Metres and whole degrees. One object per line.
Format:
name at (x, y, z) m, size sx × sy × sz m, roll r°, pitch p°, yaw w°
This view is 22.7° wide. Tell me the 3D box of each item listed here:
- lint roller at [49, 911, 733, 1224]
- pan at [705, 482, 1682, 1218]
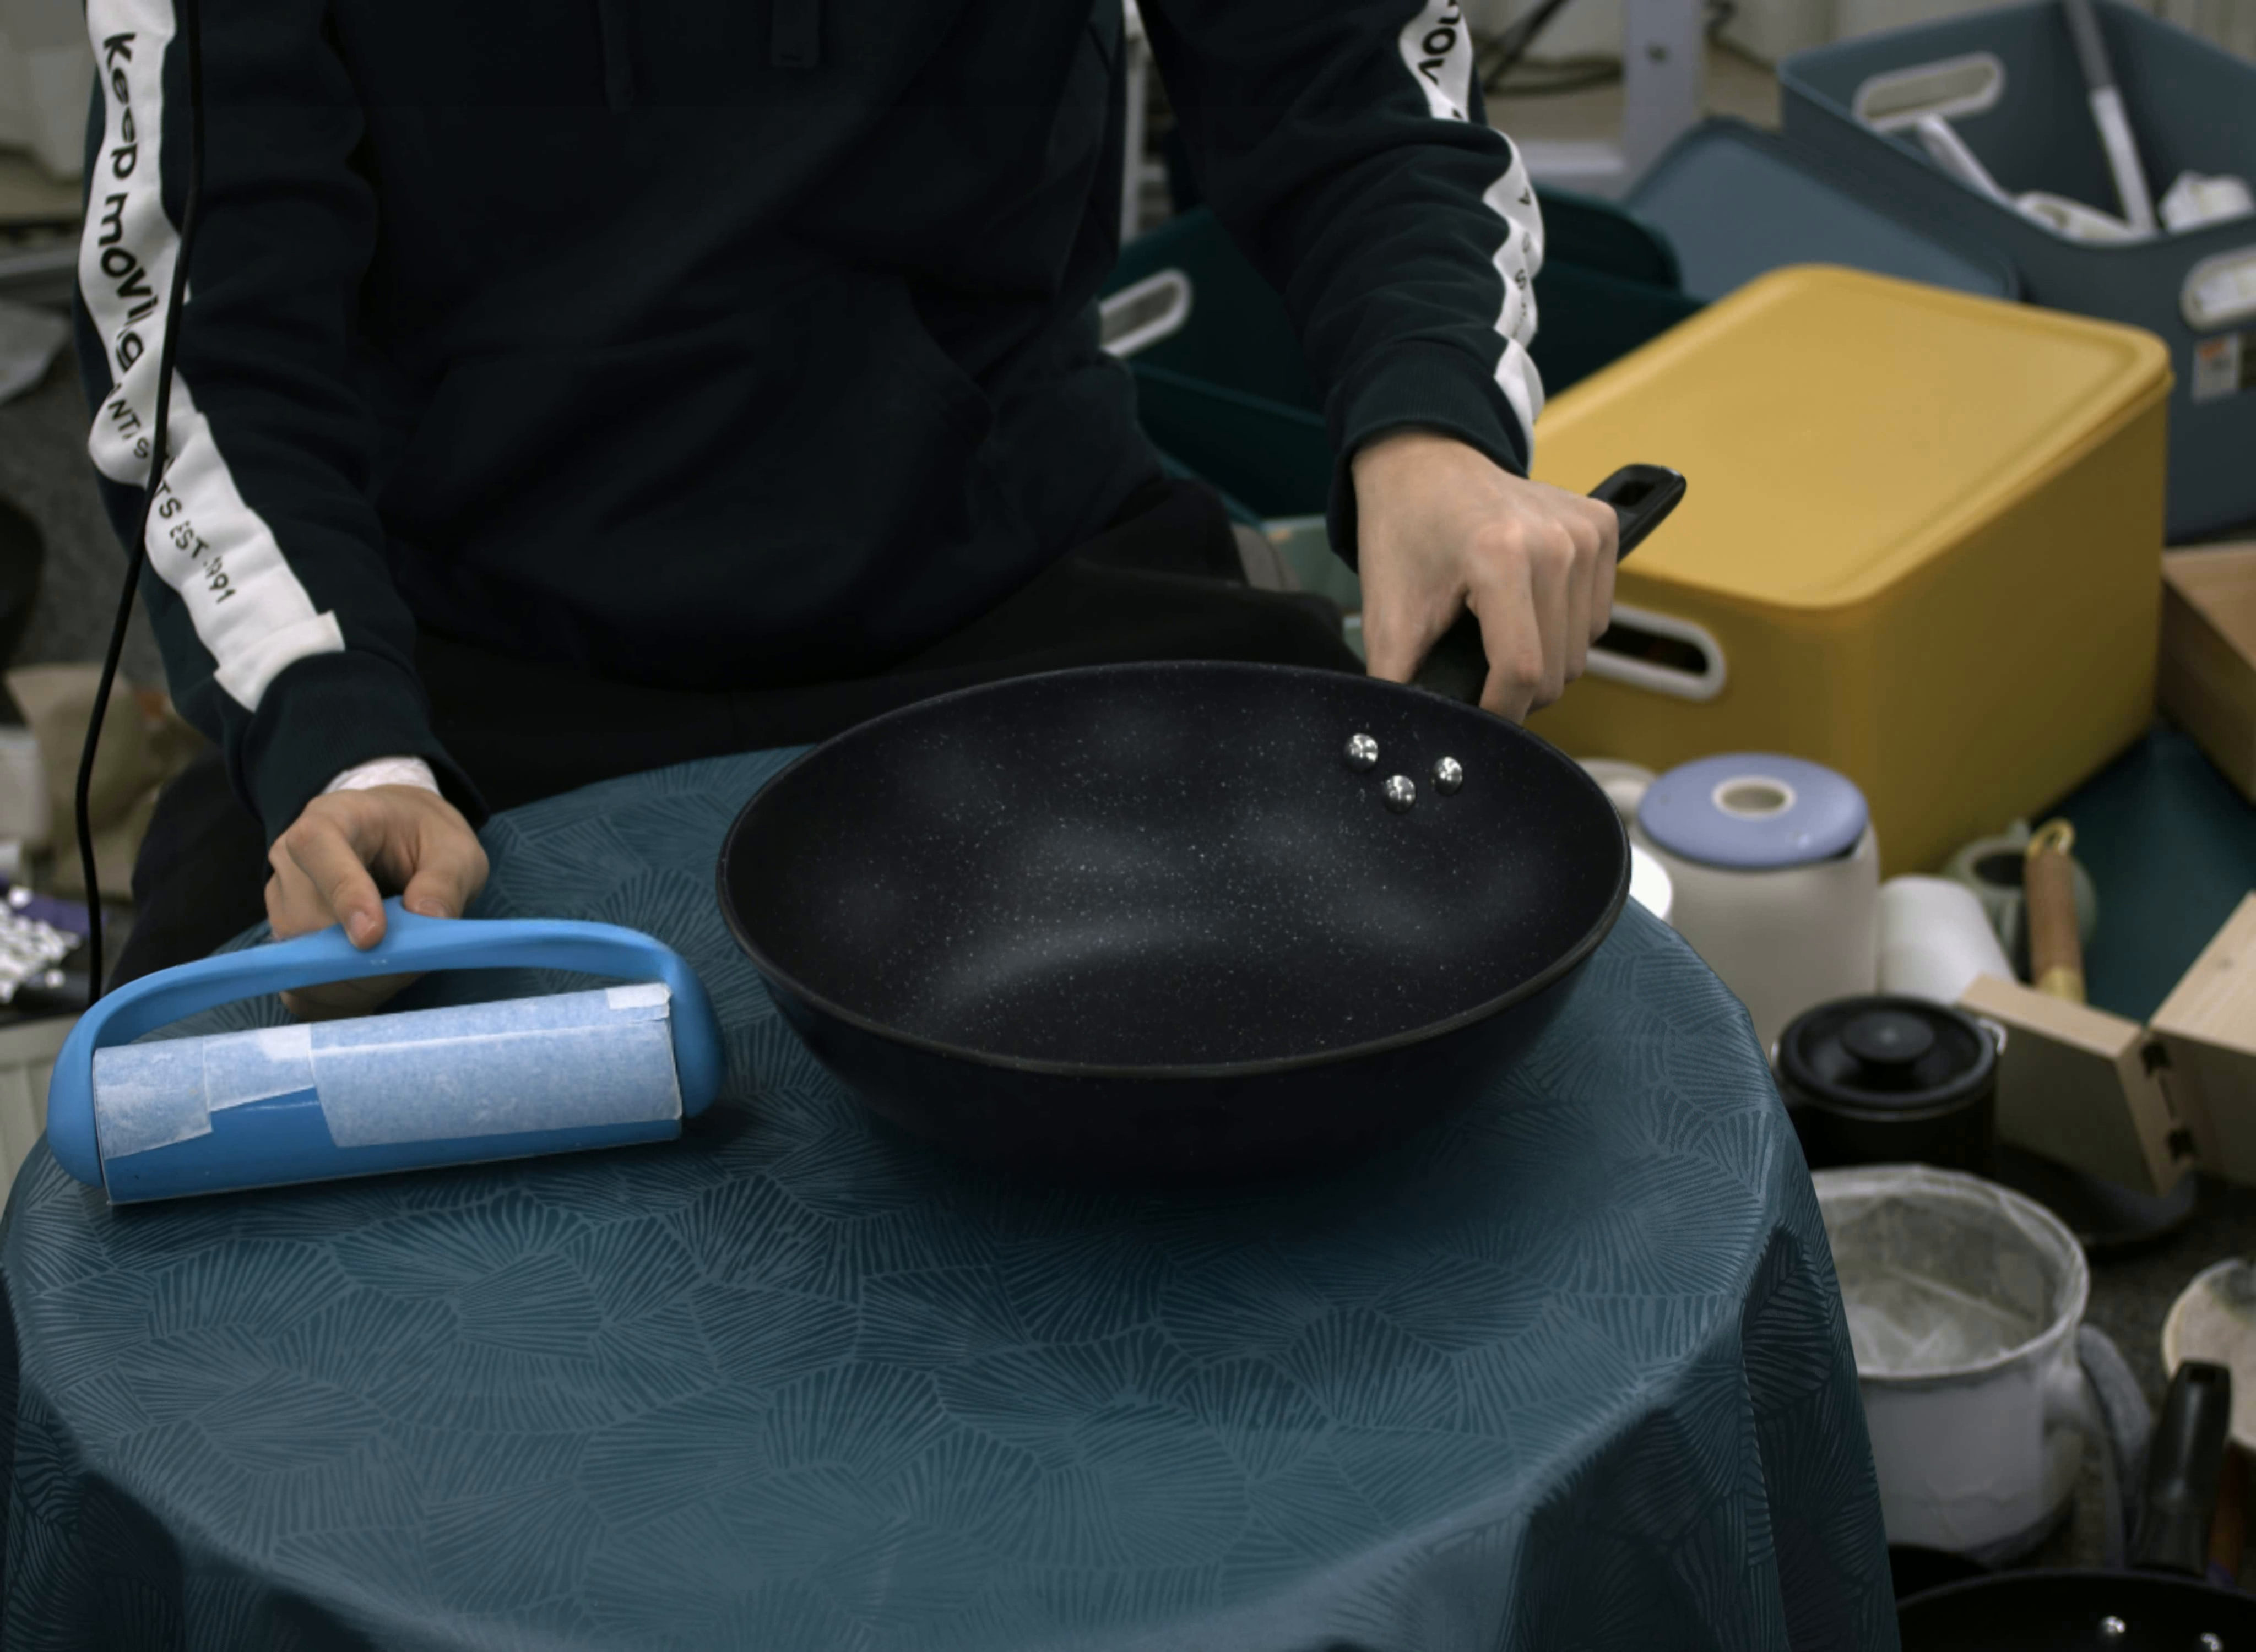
lint roller at (-0.258, 0.065, 1.935) m, size 0.228 × 0.067 × 0.182 m, roll -10°, pitch 29°, yaw -9°
pan at (0.061, 0.009, 1.958) m, size 0.309 × 0.110 × 0.484 m, roll 17°, pitch 31°, yaw 30°
